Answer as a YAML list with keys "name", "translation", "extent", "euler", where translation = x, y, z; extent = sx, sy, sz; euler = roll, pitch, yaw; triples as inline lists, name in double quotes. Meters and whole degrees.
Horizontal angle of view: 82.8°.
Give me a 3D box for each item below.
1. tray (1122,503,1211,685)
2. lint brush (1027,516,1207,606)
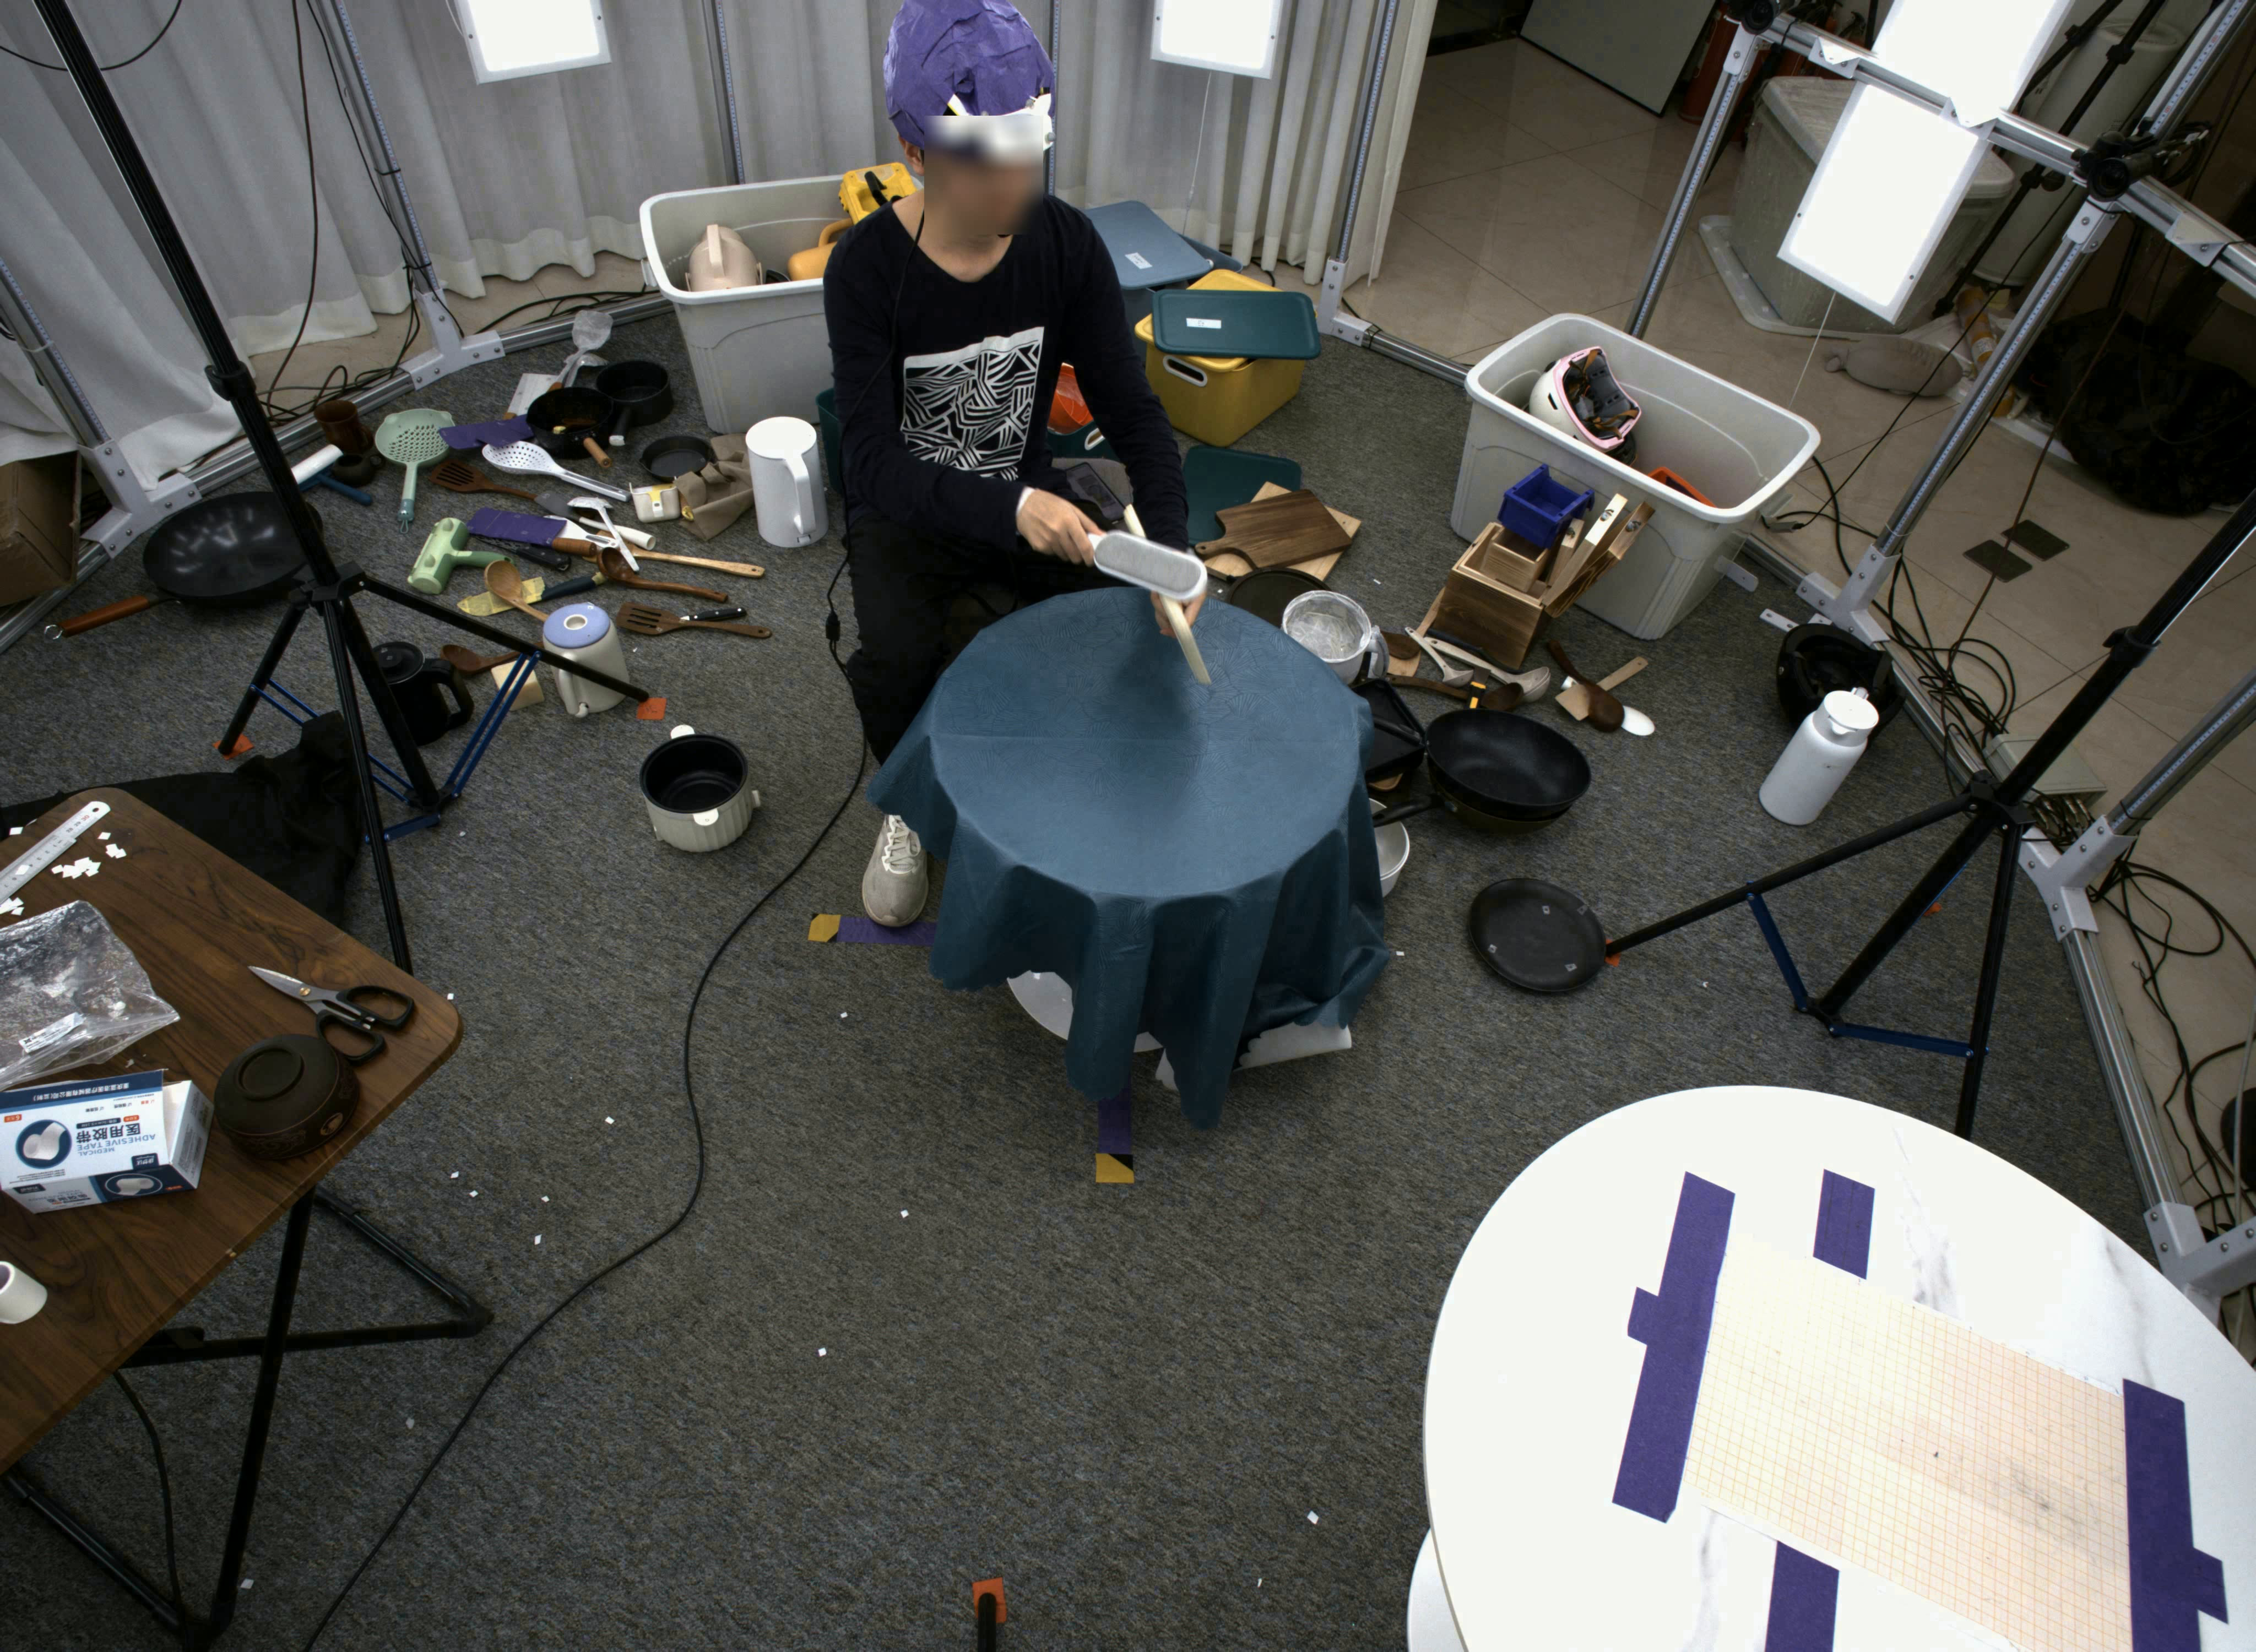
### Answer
- name: "tray"
  translation: [0.050, -0.313, 1.750]
  extent: [0.017, 0.168, 0.245]
  euler: [-25, 61, 6]
- name: "lint brush"
  translation: [-0.020, -0.358, 1.694]
  extent: [0.313, 0.020, 0.060]
  euler: [29, 94, 34]
